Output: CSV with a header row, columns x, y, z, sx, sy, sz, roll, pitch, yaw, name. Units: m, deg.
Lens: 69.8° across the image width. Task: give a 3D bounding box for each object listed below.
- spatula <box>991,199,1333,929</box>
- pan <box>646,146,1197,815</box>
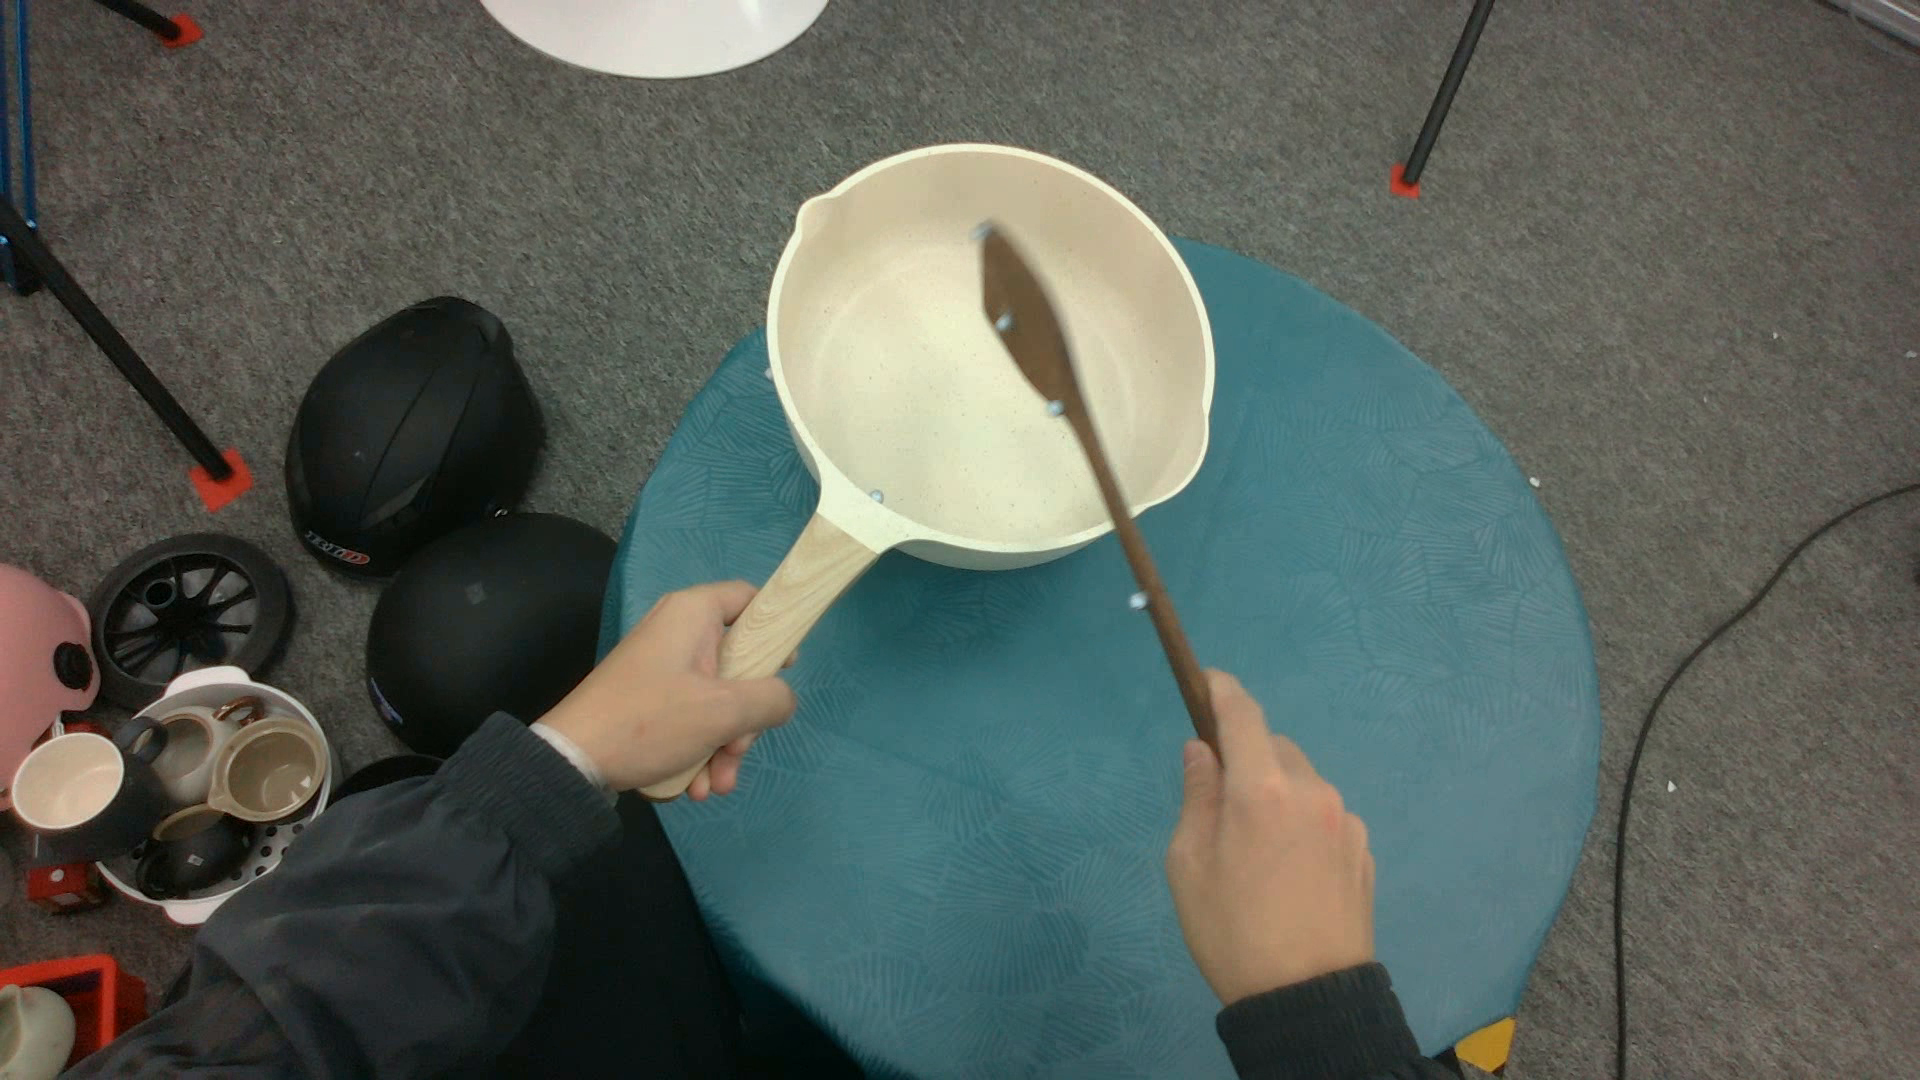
x,y,z,sx,sy,sz,roll,pitch,yaw,name
0.092,0.004,0.673,0.016,0.095,0.386,-16,71,-16,spatula
-0.039,-0.032,0.764,0.263,0.101,0.436,32,67,2,pan
